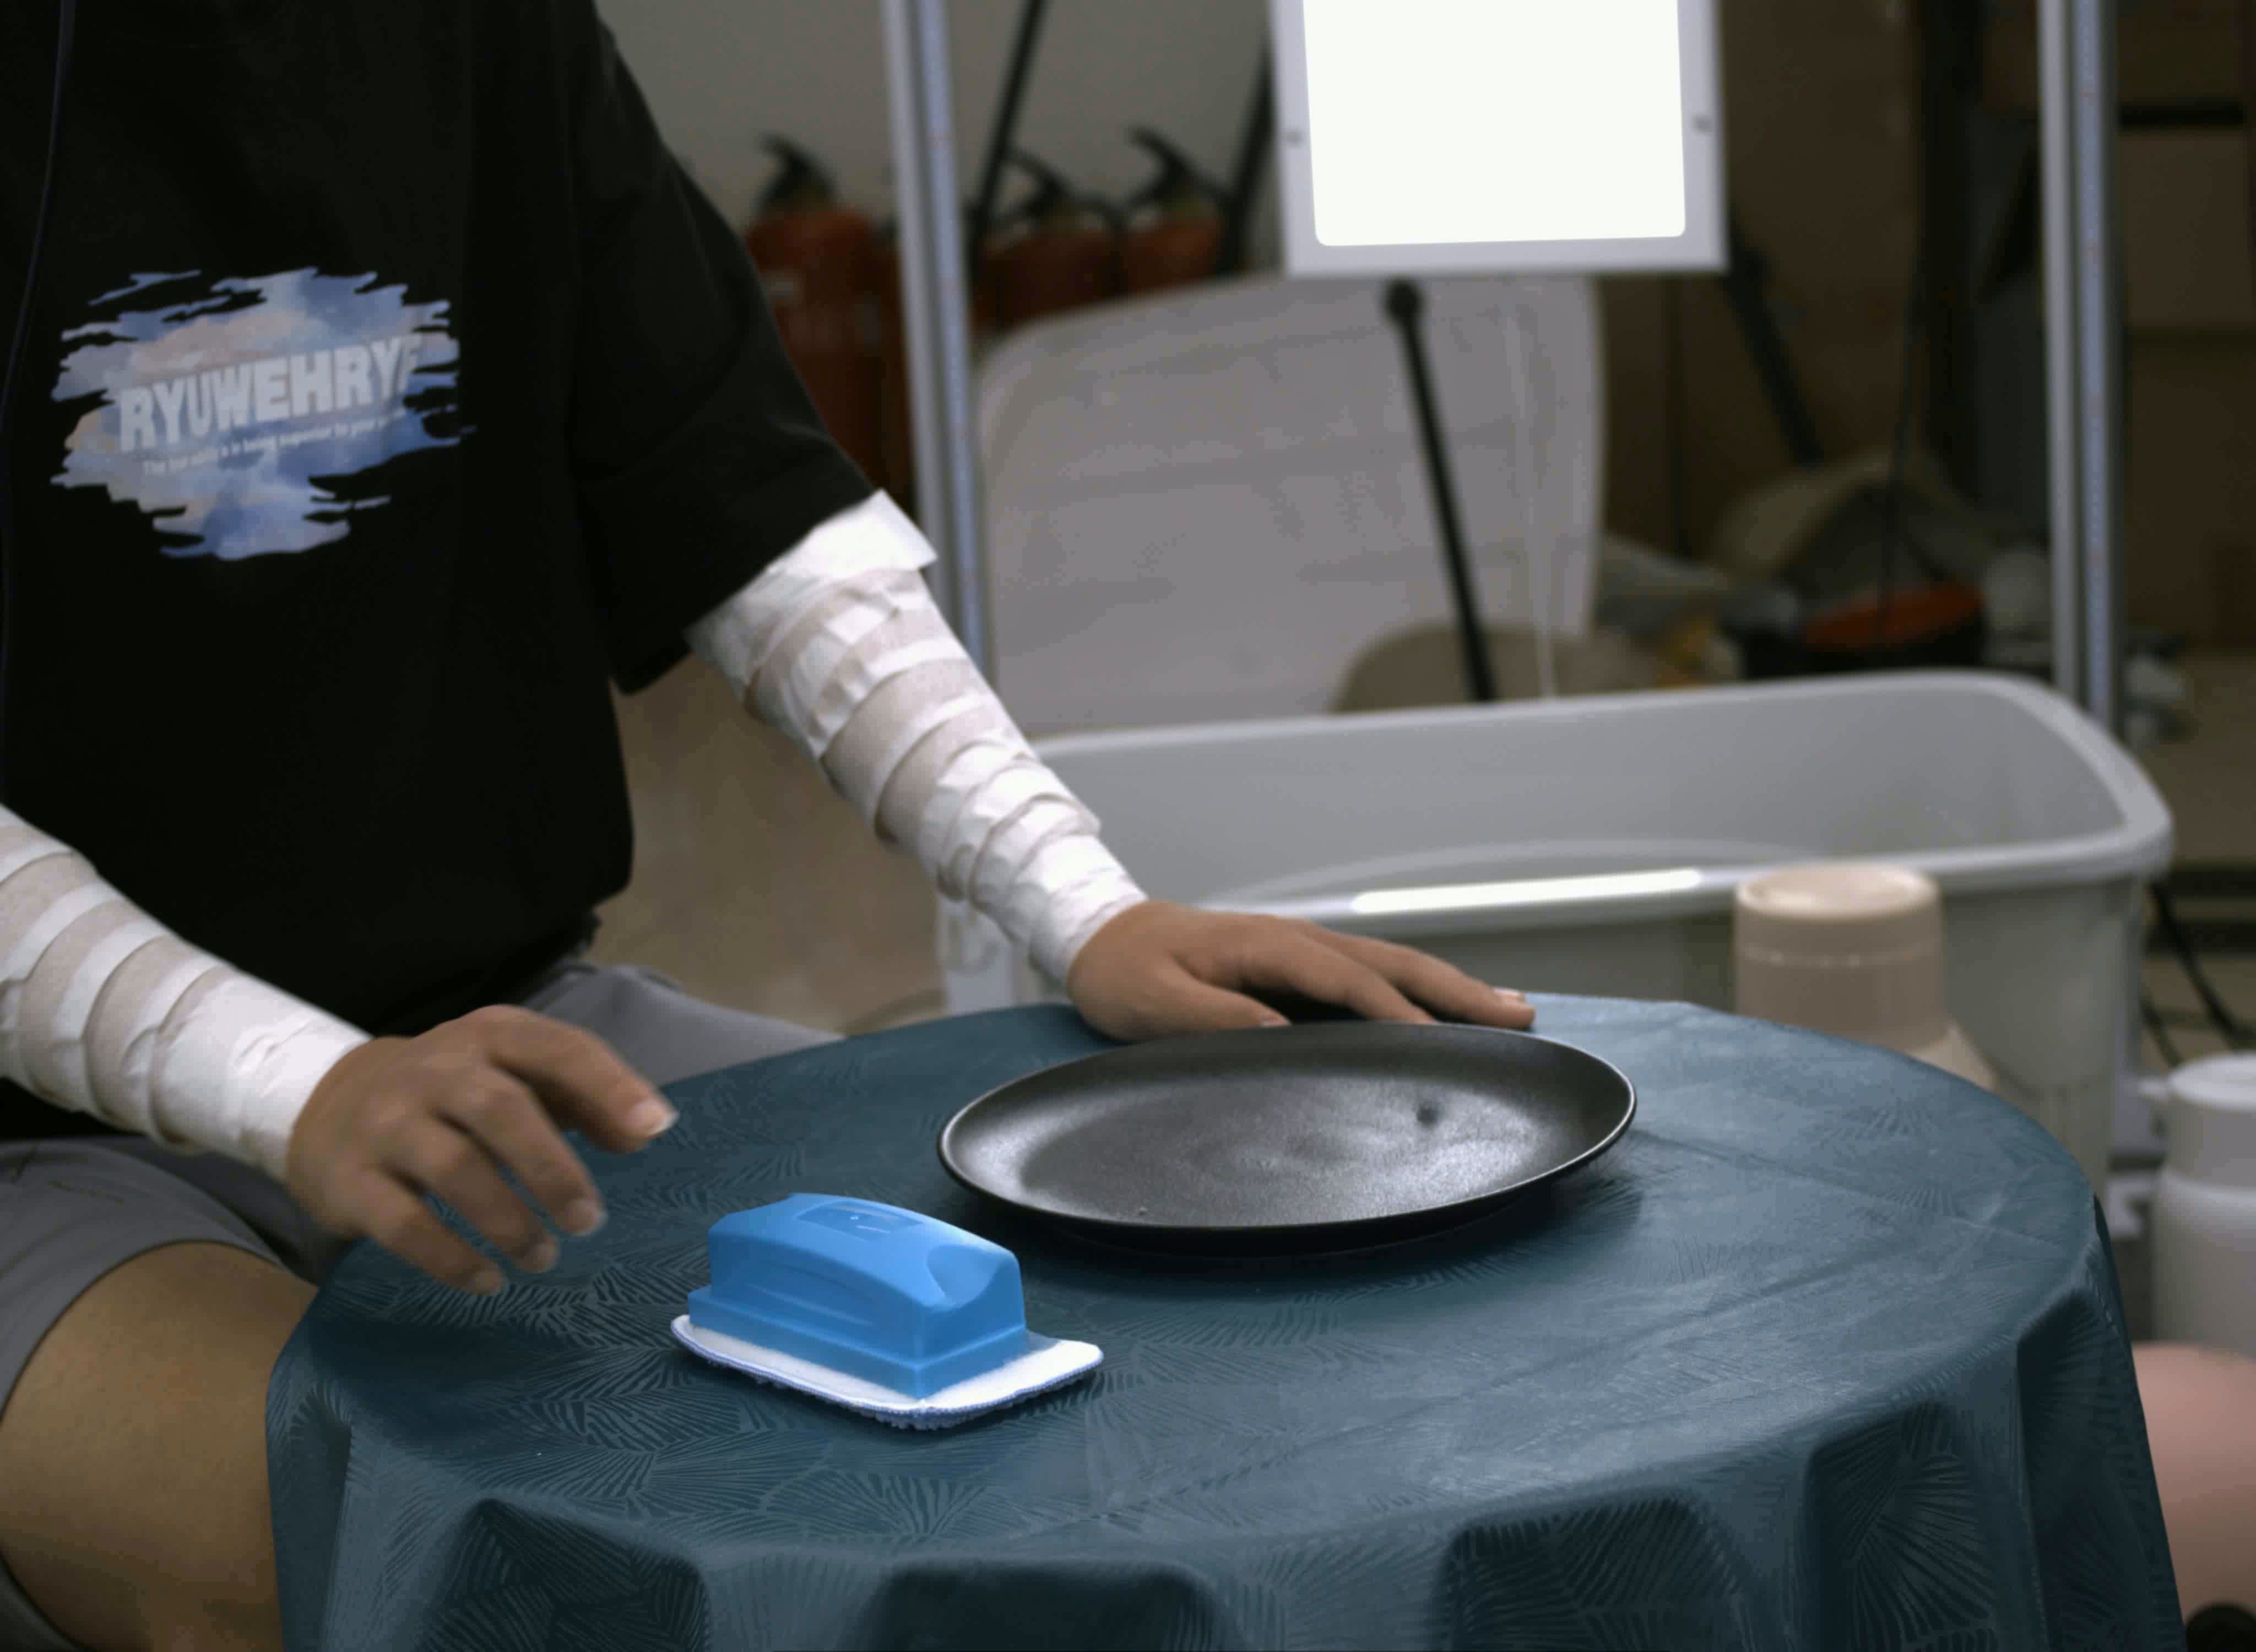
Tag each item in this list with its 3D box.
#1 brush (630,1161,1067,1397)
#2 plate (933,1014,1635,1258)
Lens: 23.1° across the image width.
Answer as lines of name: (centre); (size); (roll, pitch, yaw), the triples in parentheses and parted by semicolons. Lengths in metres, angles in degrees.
brush: (-0.088, 0.141, 1.738); (0.082, 0.056, 0.147); (-11, 17, -40)
plate: (0.055, 0.109, 1.897); (0.244, 0.023, 0.244); (-5, 14, 0)
